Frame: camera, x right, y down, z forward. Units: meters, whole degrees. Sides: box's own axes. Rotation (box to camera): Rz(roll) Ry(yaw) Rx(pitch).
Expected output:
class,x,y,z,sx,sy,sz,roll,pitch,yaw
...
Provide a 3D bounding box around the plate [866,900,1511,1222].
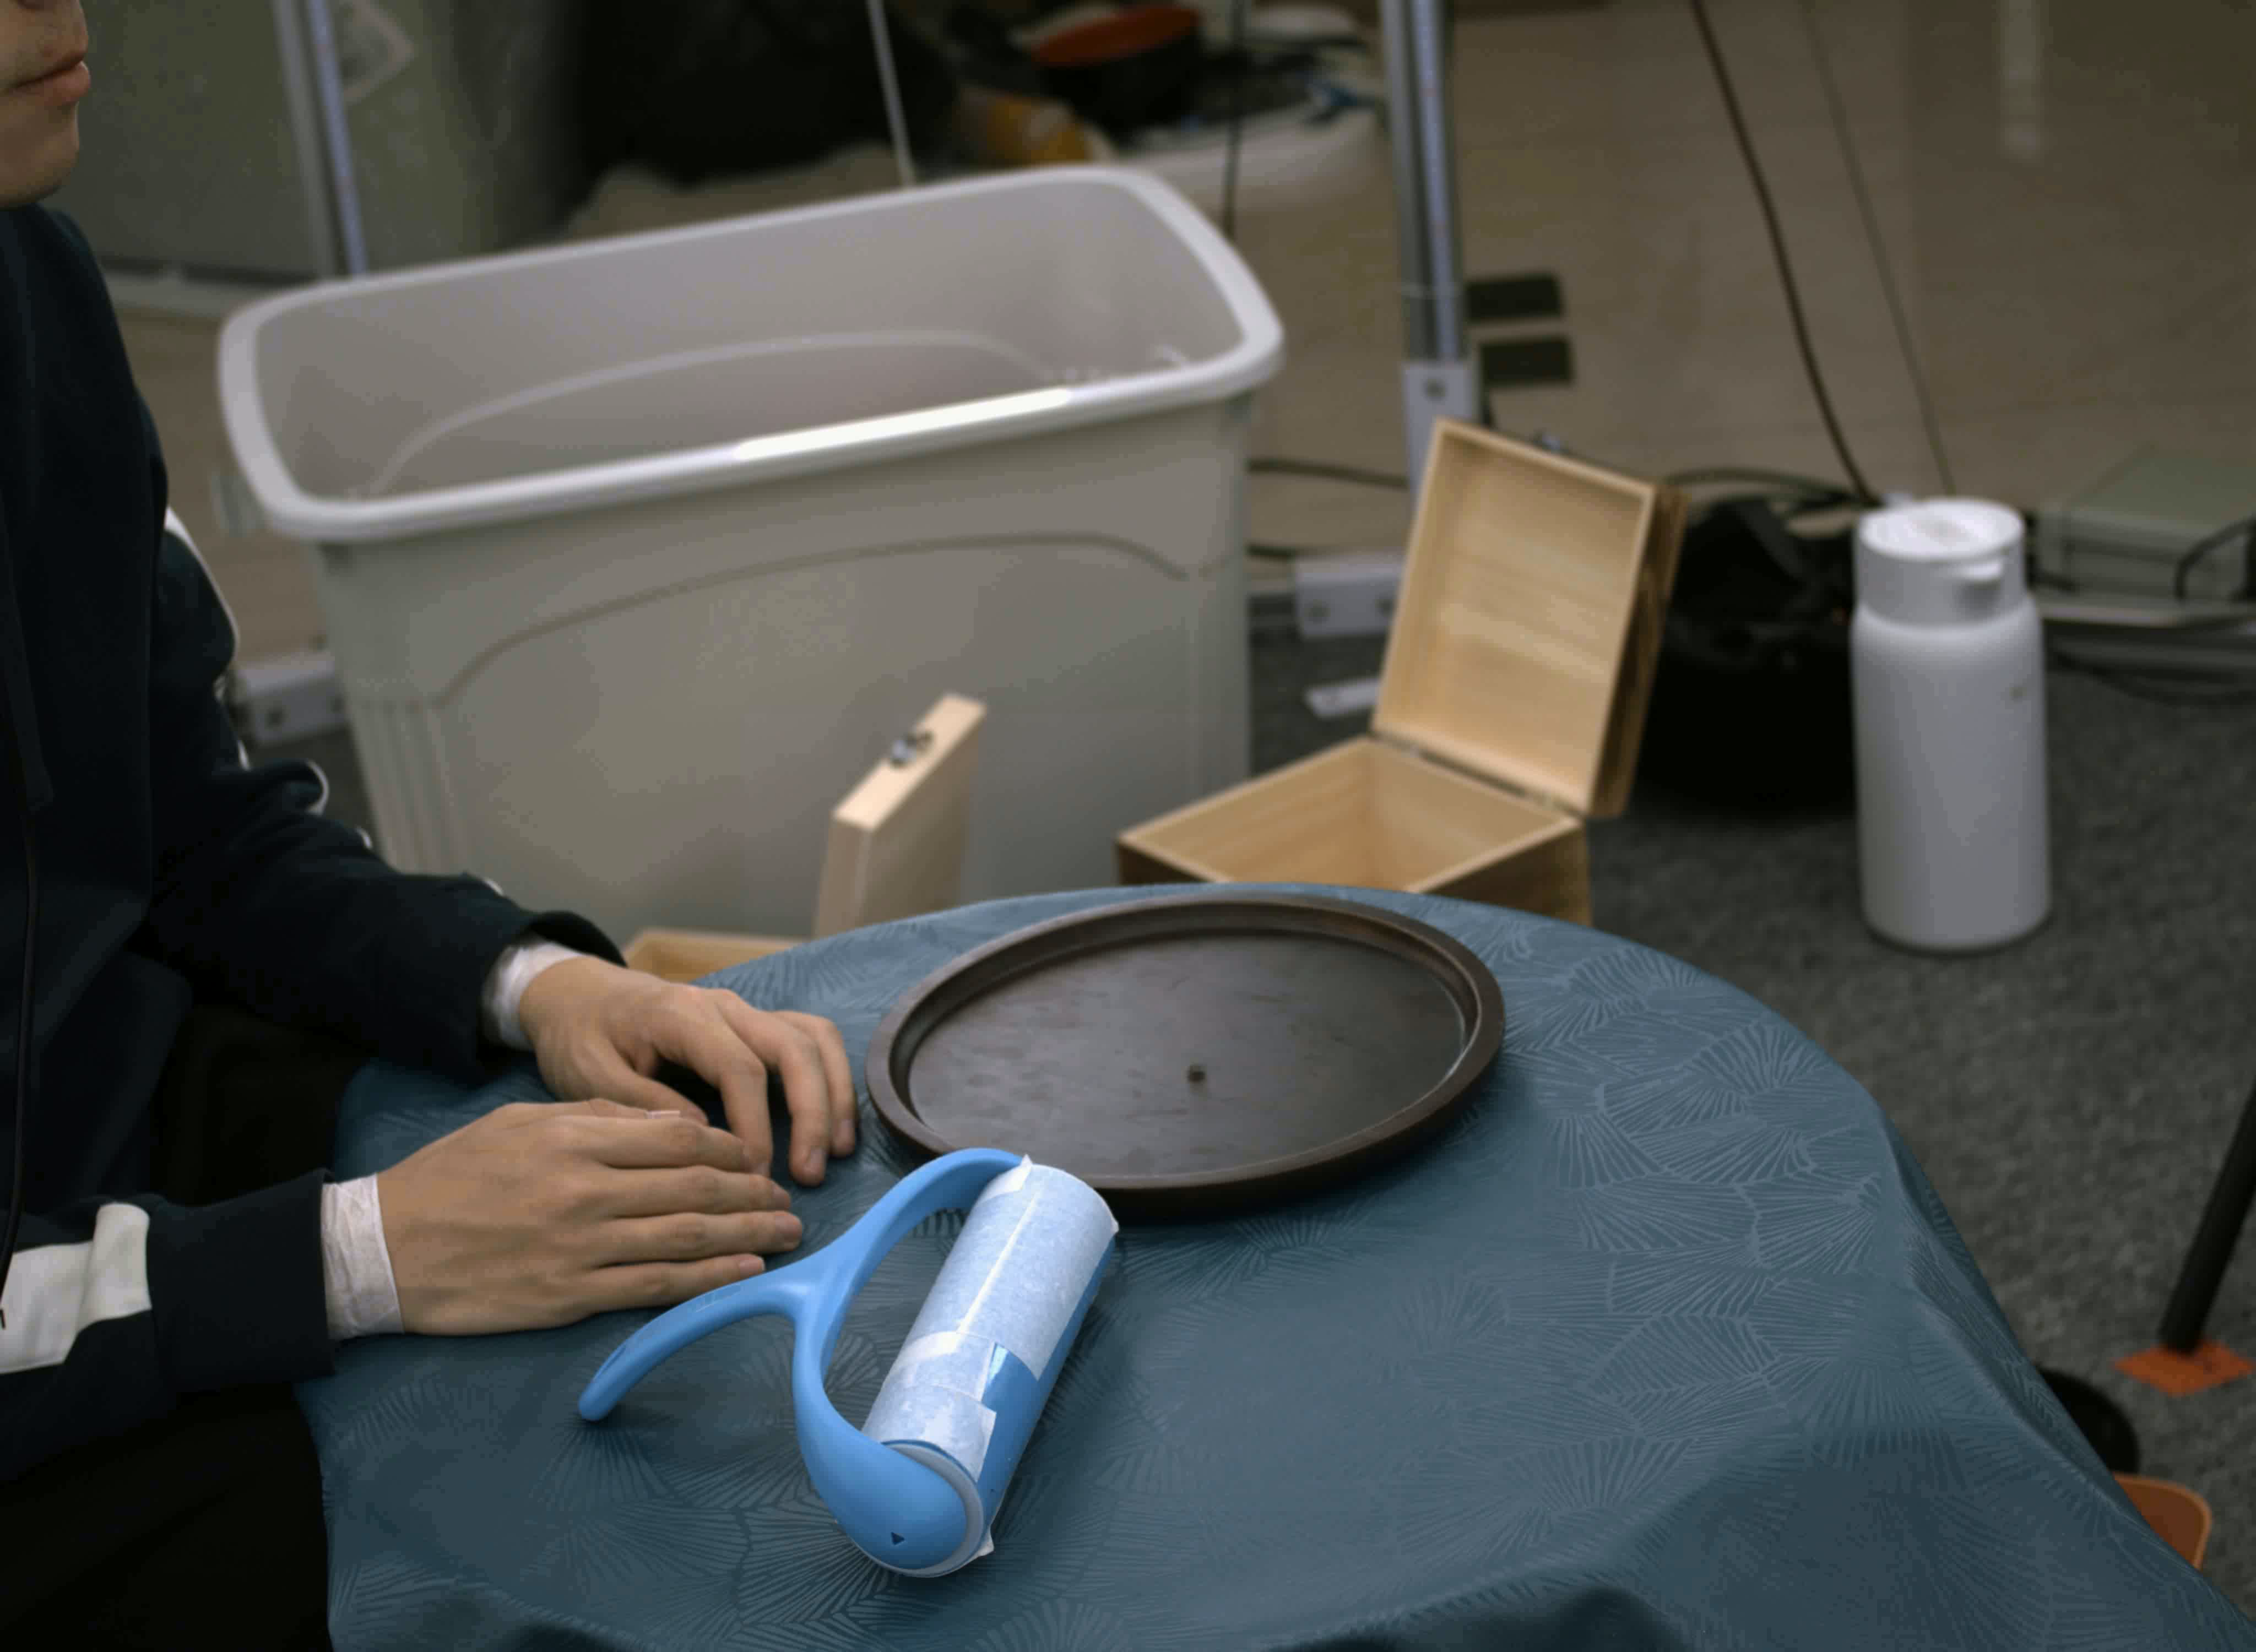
class,x,y,z,sx,sy,sz,roll,pitch,yaw
plate,0.024,0.090,2.216,0.254,0.029,0.251,-4,25,2

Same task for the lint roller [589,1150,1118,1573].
class,x,y,z,sx,sy,sz,roll,pitch,yaw
lint roller,-0.108,0.187,1.999,0.180,0.069,0.225,0,27,11
